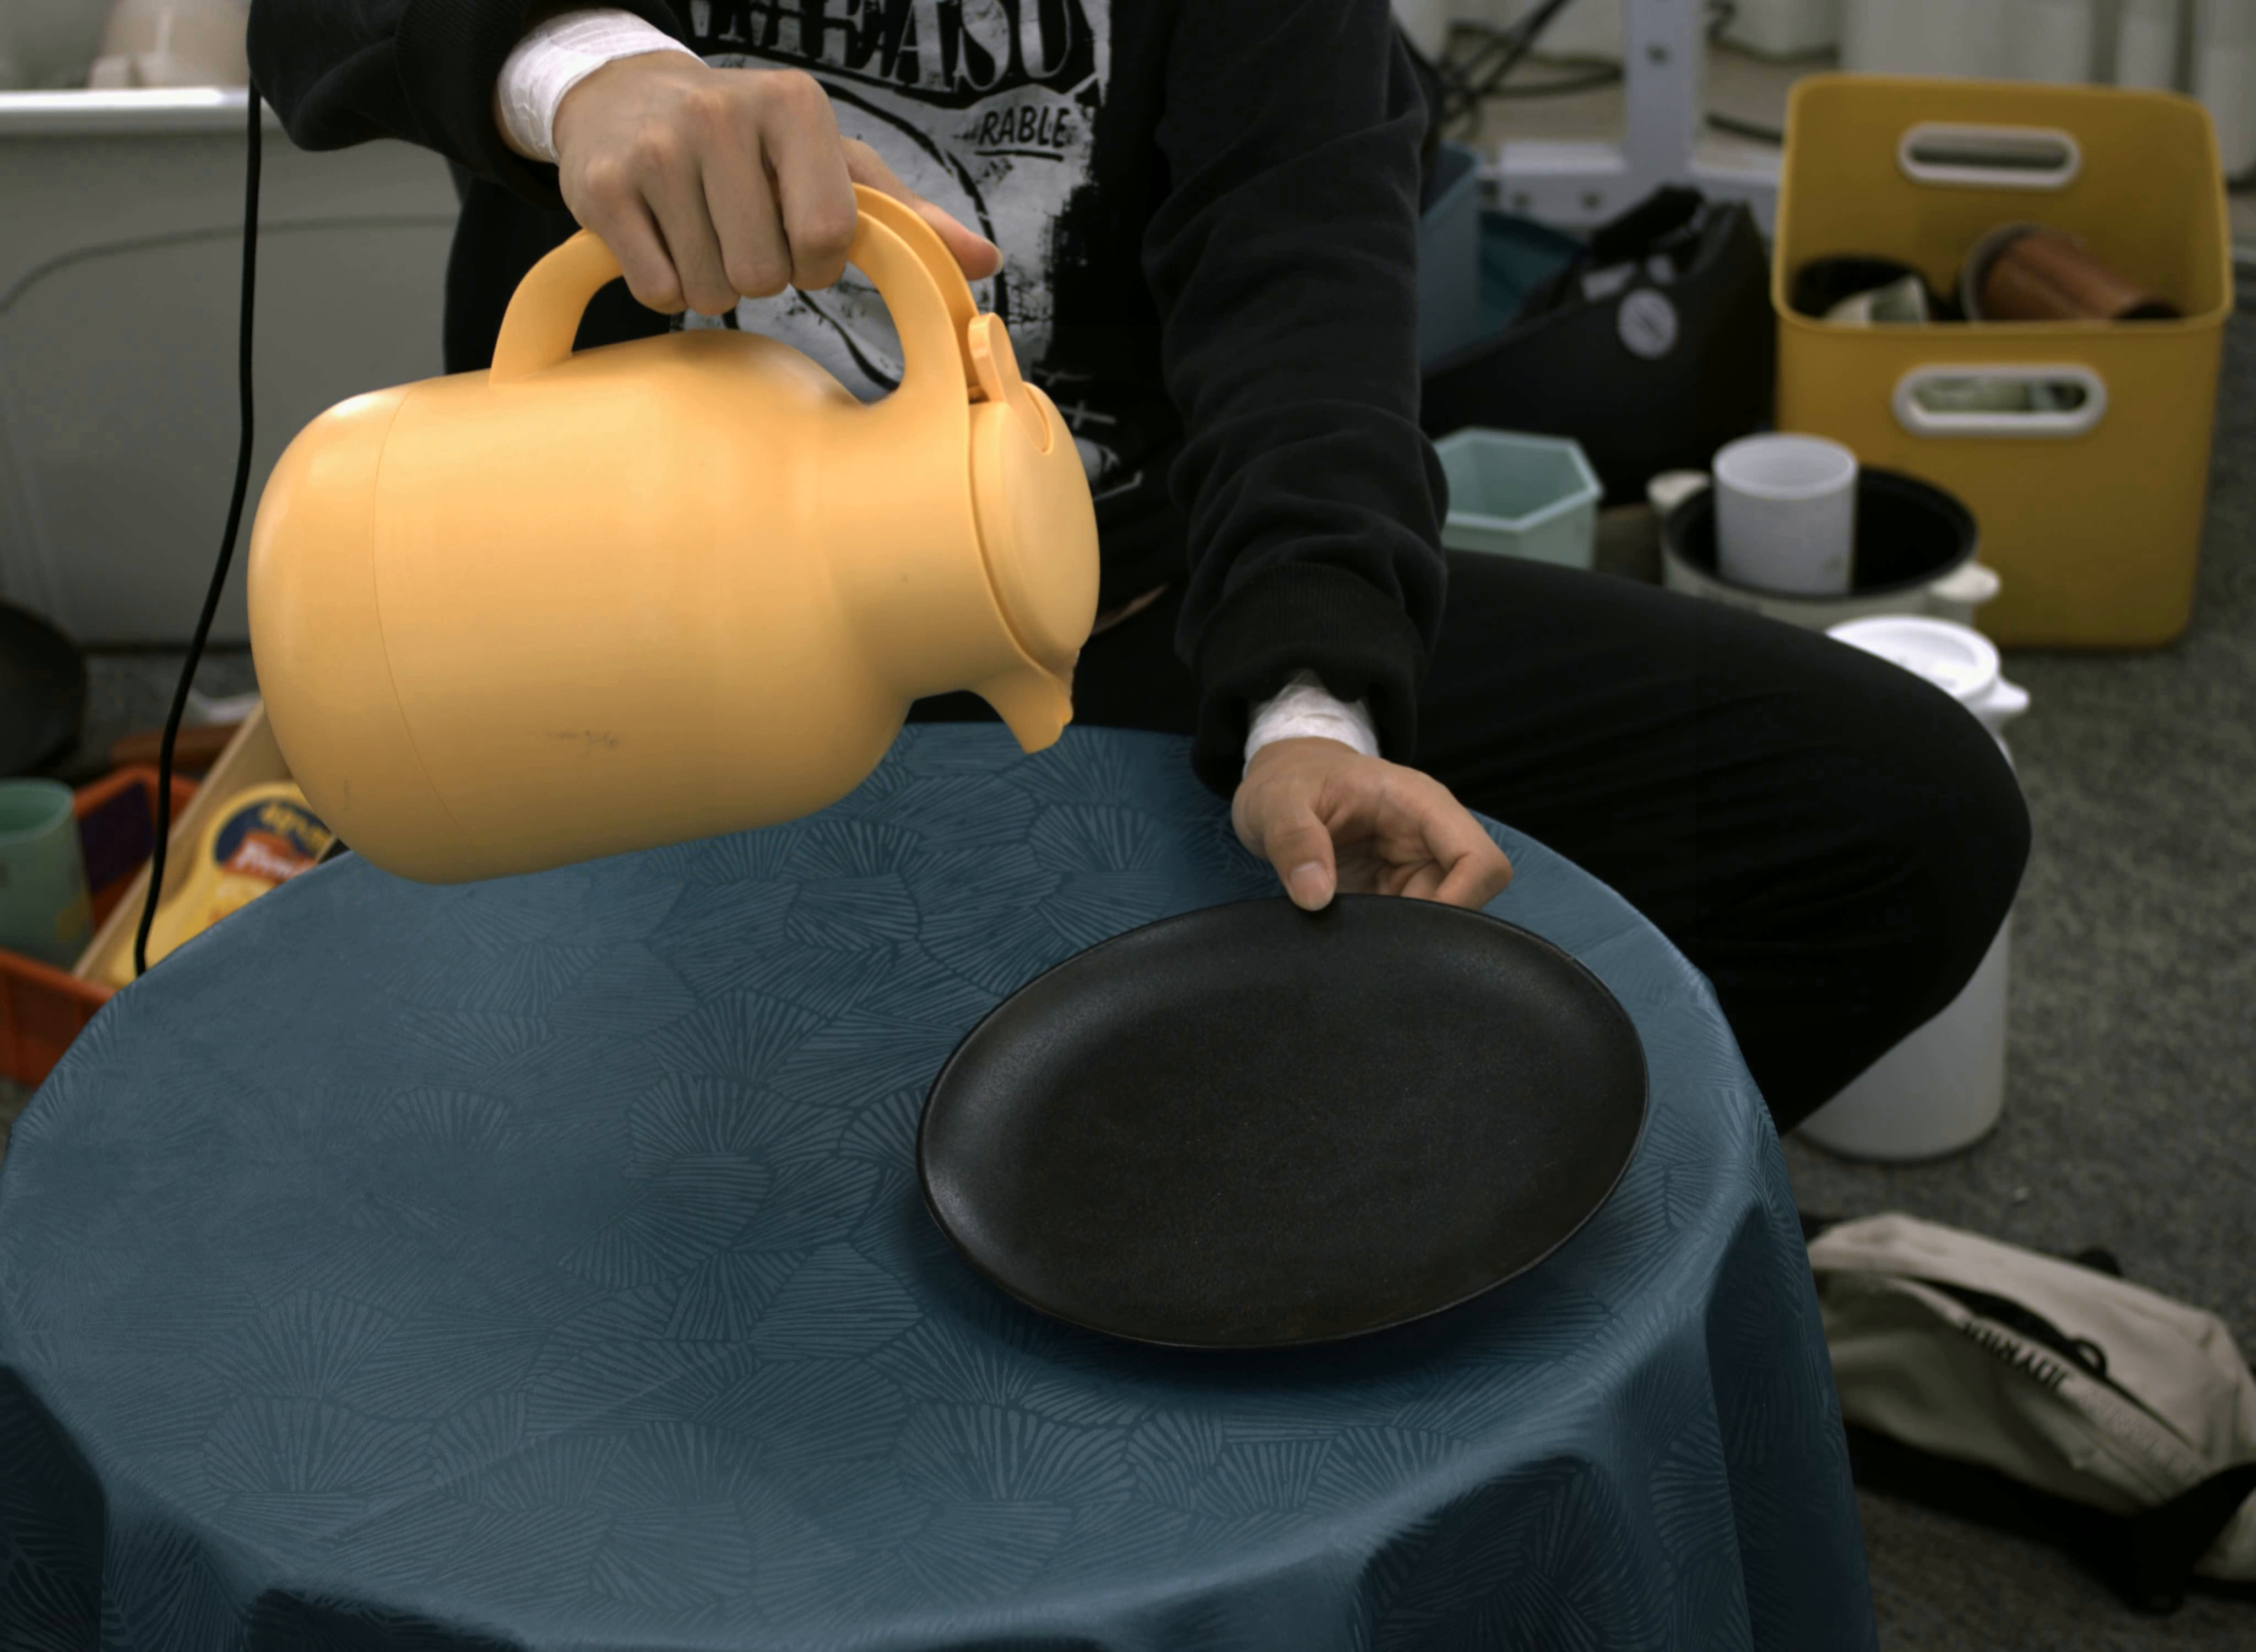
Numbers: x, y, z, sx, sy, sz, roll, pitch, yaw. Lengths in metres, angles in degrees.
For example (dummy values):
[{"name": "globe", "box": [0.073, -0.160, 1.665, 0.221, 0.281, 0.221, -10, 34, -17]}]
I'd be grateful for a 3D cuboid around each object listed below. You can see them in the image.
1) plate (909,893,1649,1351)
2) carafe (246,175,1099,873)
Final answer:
[{"name": "plate", "box": [0.050, 0.101, 1.844, 0.243, 0.023, 0.249, -5, 33, 4]}, {"name": "carafe", "box": [-0.144, -0.097, 1.792, 0.258, 0.202, 0.165, -9, 12, 15]}]
